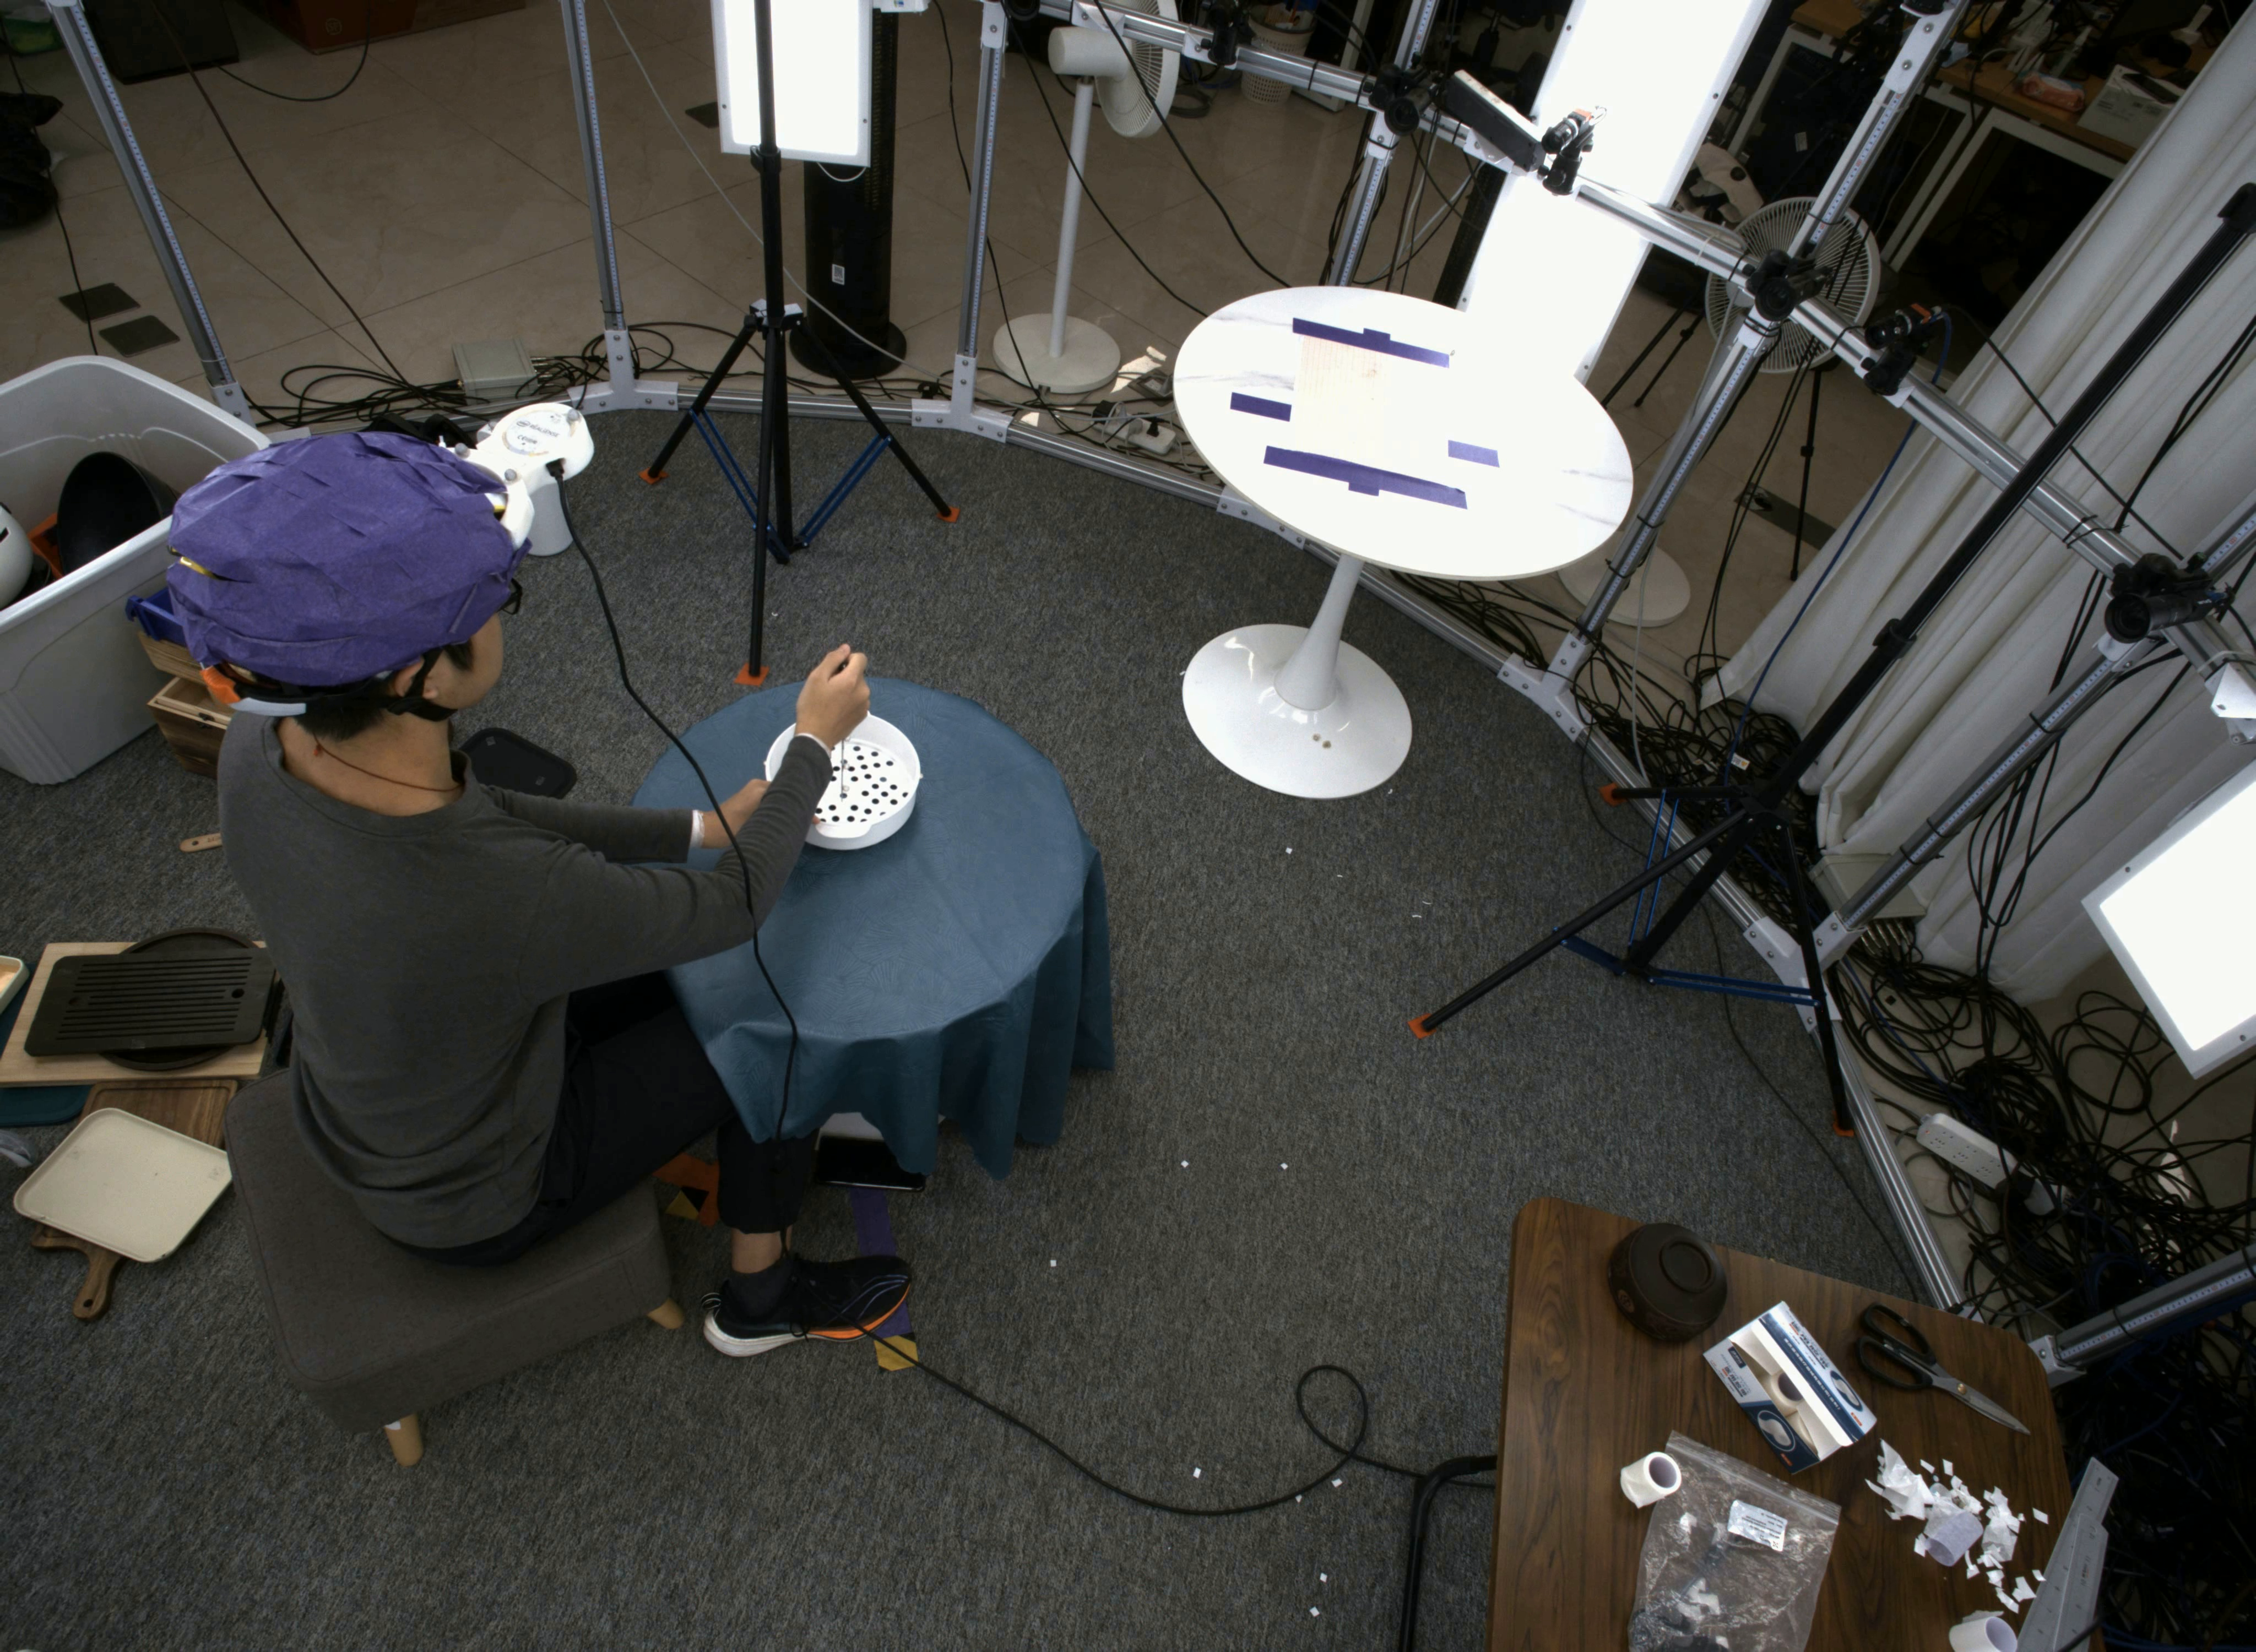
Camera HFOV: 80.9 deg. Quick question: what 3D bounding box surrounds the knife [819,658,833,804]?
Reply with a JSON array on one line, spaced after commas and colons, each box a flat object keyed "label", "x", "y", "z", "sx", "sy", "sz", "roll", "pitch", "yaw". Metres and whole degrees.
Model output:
[{"label": "knife", "x": -0.386, "y": -0.114, "z": 1.659, "sx": 0.016, "sy": 0.244, "sz": 0.024, "roll": 7, "pitch": 45, "yaw": -5}]

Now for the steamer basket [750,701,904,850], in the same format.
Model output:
[{"label": "steamer basket", "x": -0.403, "y": -0.062, "z": 1.743, "sx": 0.202, "sy": 0.070, "sz": 0.226, "roll": 0, "pitch": 55, "yaw": -13}]
